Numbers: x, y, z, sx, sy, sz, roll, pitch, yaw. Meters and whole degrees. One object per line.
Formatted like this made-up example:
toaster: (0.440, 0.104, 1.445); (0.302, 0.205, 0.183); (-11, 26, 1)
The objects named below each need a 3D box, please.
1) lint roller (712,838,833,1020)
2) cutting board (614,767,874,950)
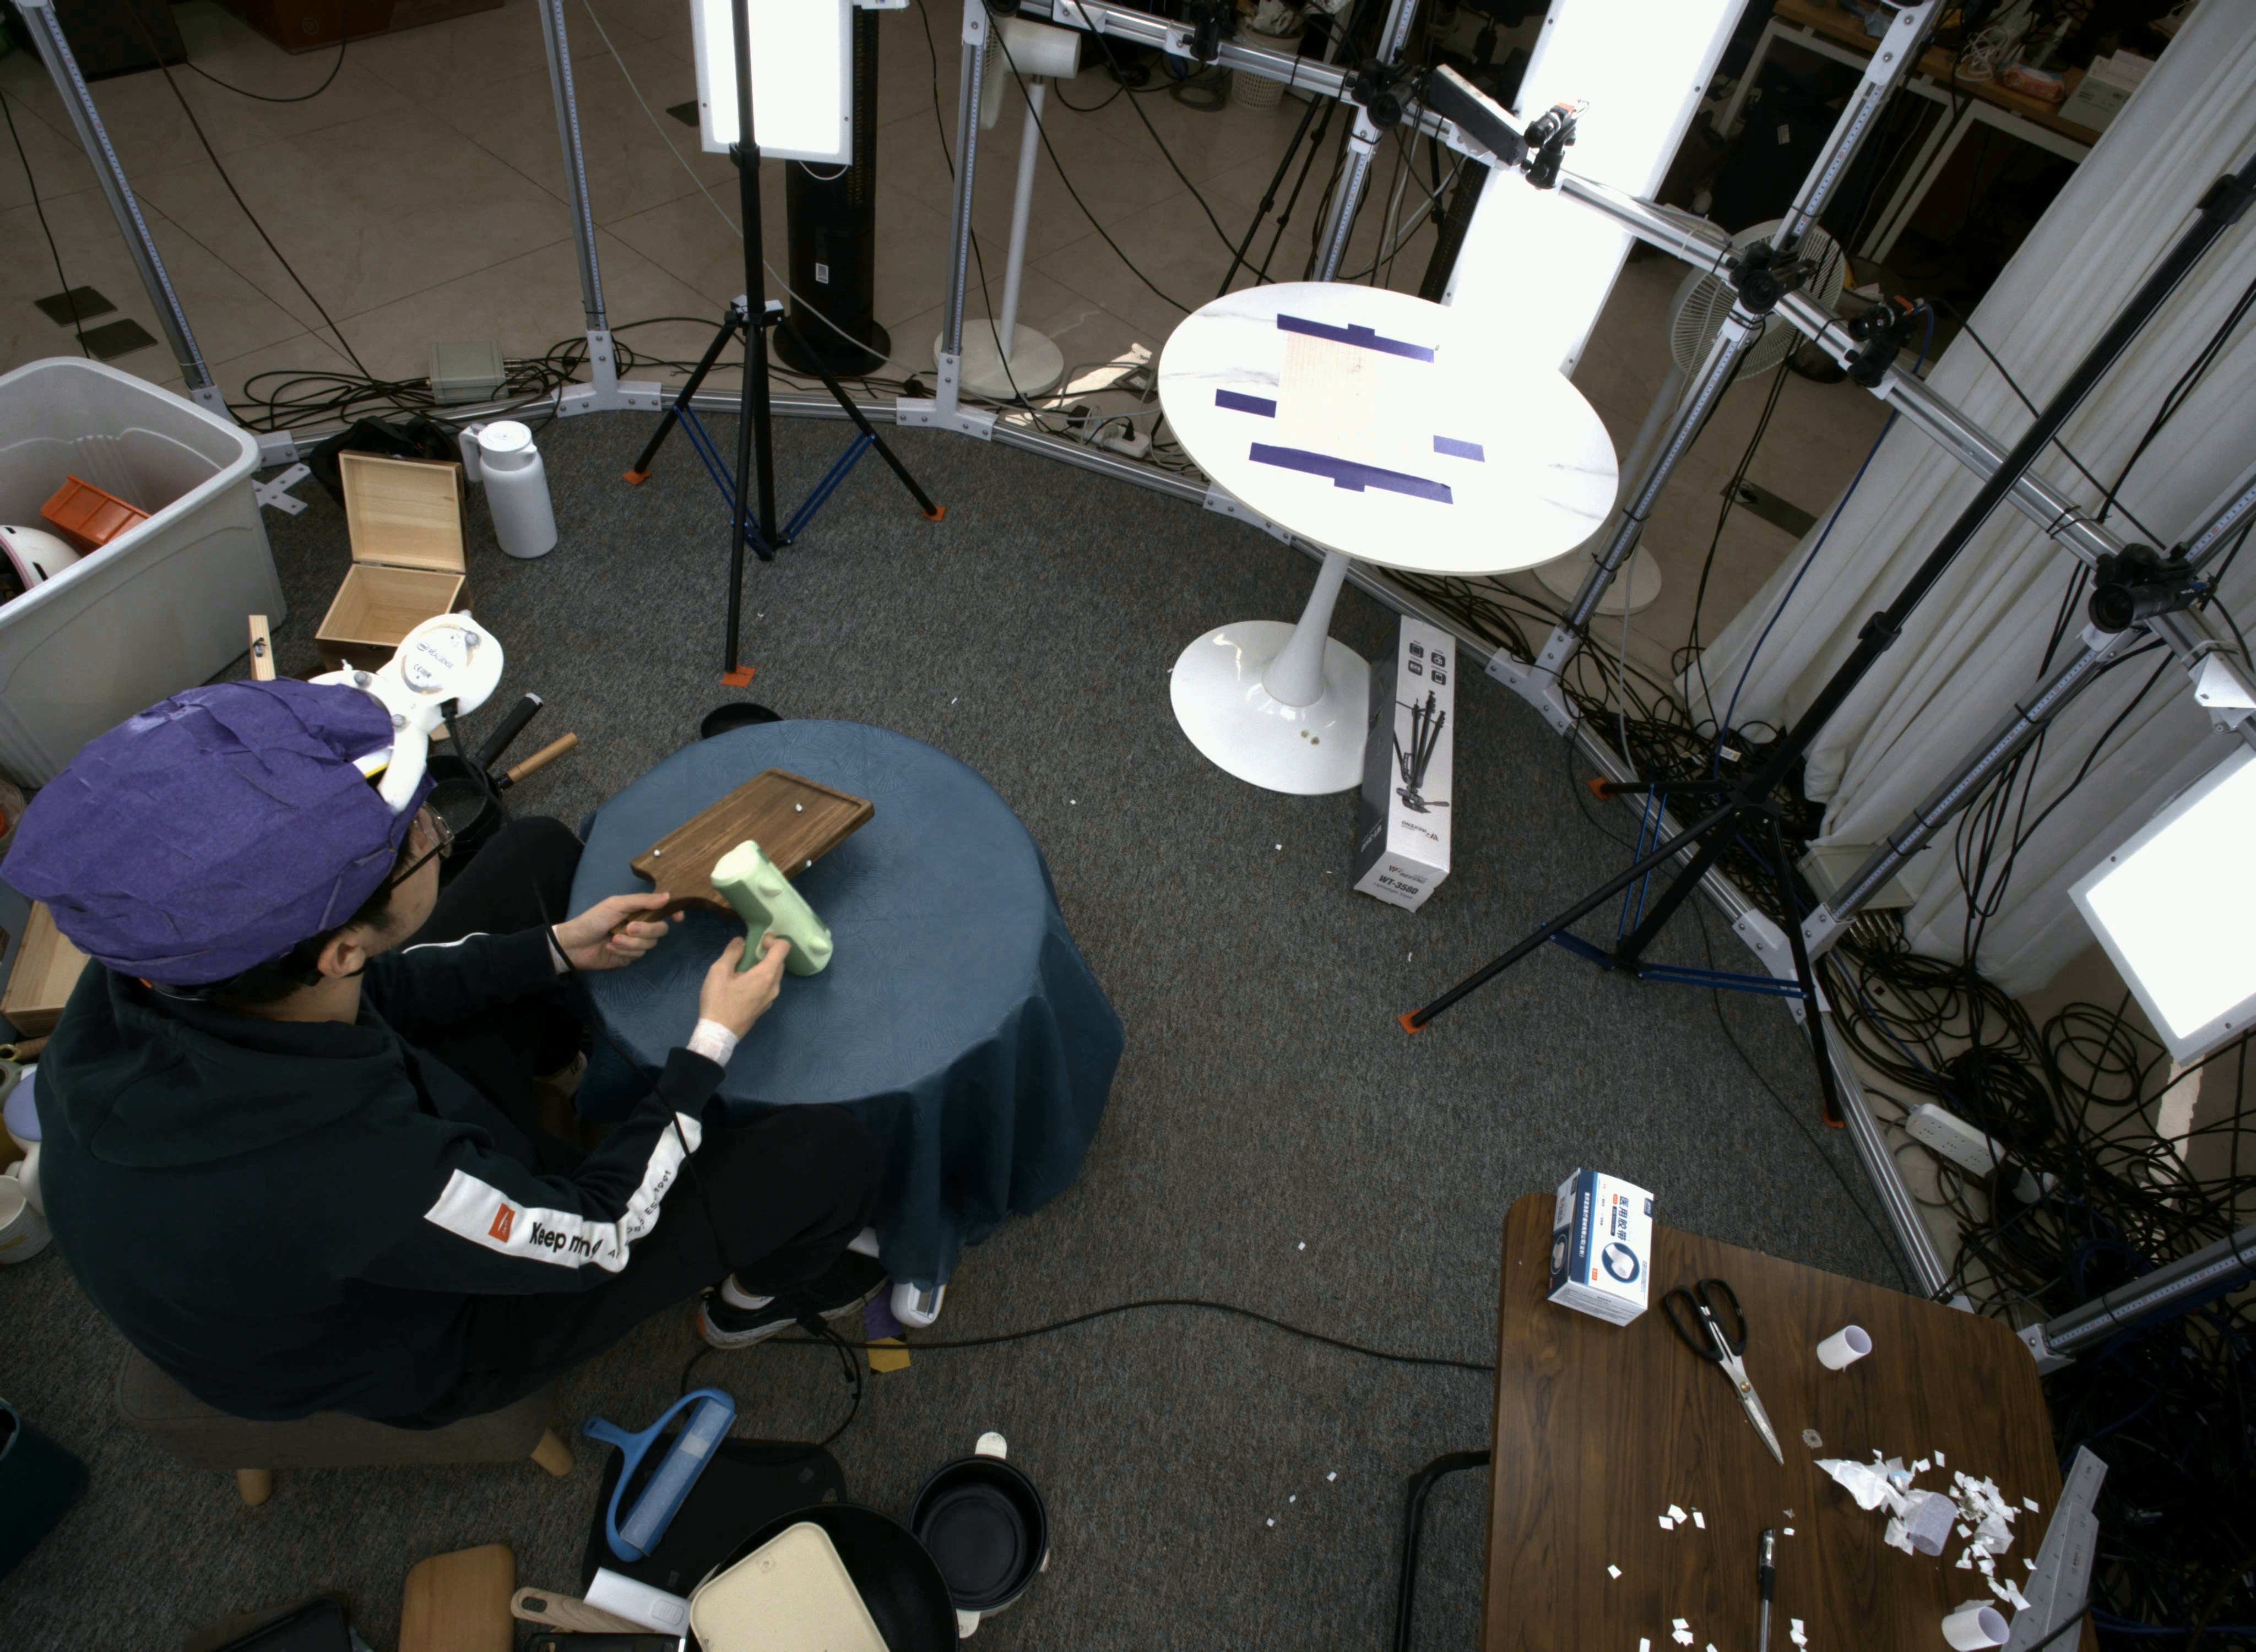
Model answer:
lint roller: (-0.419, 0.141, 1.499); (0.080, 0.206, 0.181); (-4, 49, 20)
cutting board: (-0.501, 0.039, 1.606); (0.194, 0.024, 0.352); (18, 42, 28)
